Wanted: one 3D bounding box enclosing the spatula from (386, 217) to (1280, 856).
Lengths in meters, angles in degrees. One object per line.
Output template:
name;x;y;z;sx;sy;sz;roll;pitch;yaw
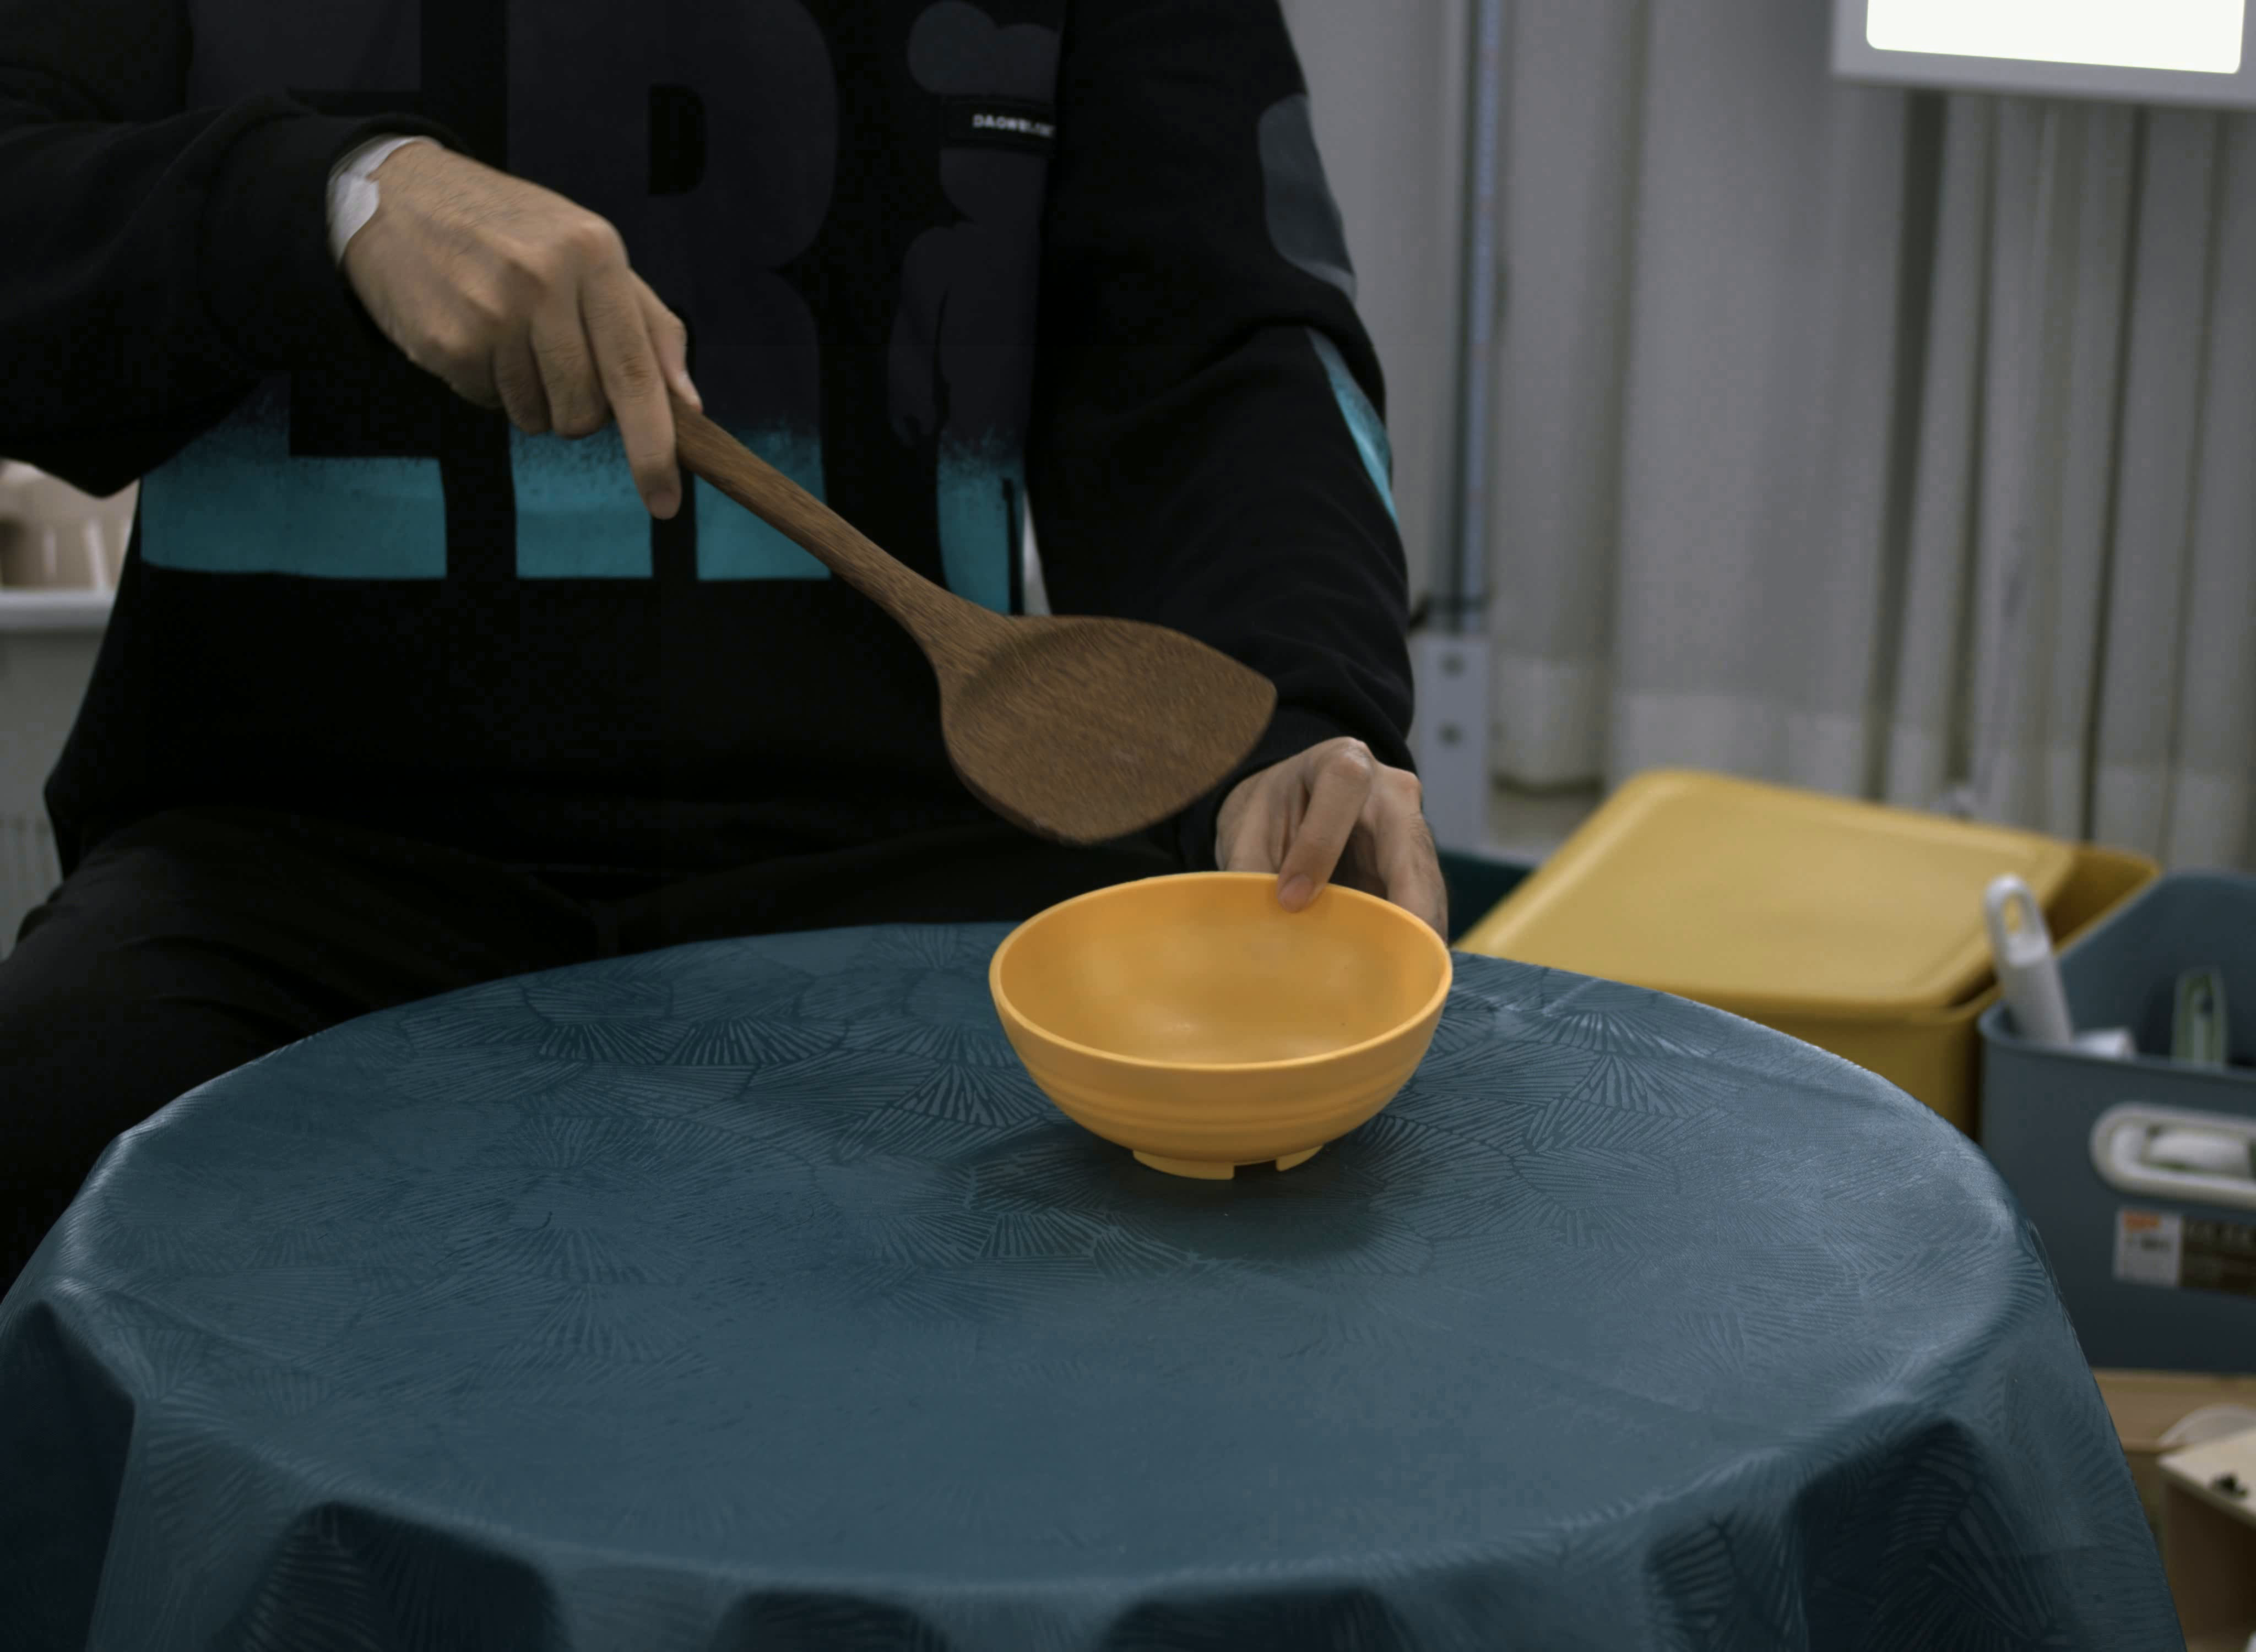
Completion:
spatula;-0.111;-0.105;1.691;0.381;0.016;0.096;37;57;27

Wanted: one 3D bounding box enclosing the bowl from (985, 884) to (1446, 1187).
bowl;0.027;0.073;1.653;0.145;0.060;0.144;2;22;0
